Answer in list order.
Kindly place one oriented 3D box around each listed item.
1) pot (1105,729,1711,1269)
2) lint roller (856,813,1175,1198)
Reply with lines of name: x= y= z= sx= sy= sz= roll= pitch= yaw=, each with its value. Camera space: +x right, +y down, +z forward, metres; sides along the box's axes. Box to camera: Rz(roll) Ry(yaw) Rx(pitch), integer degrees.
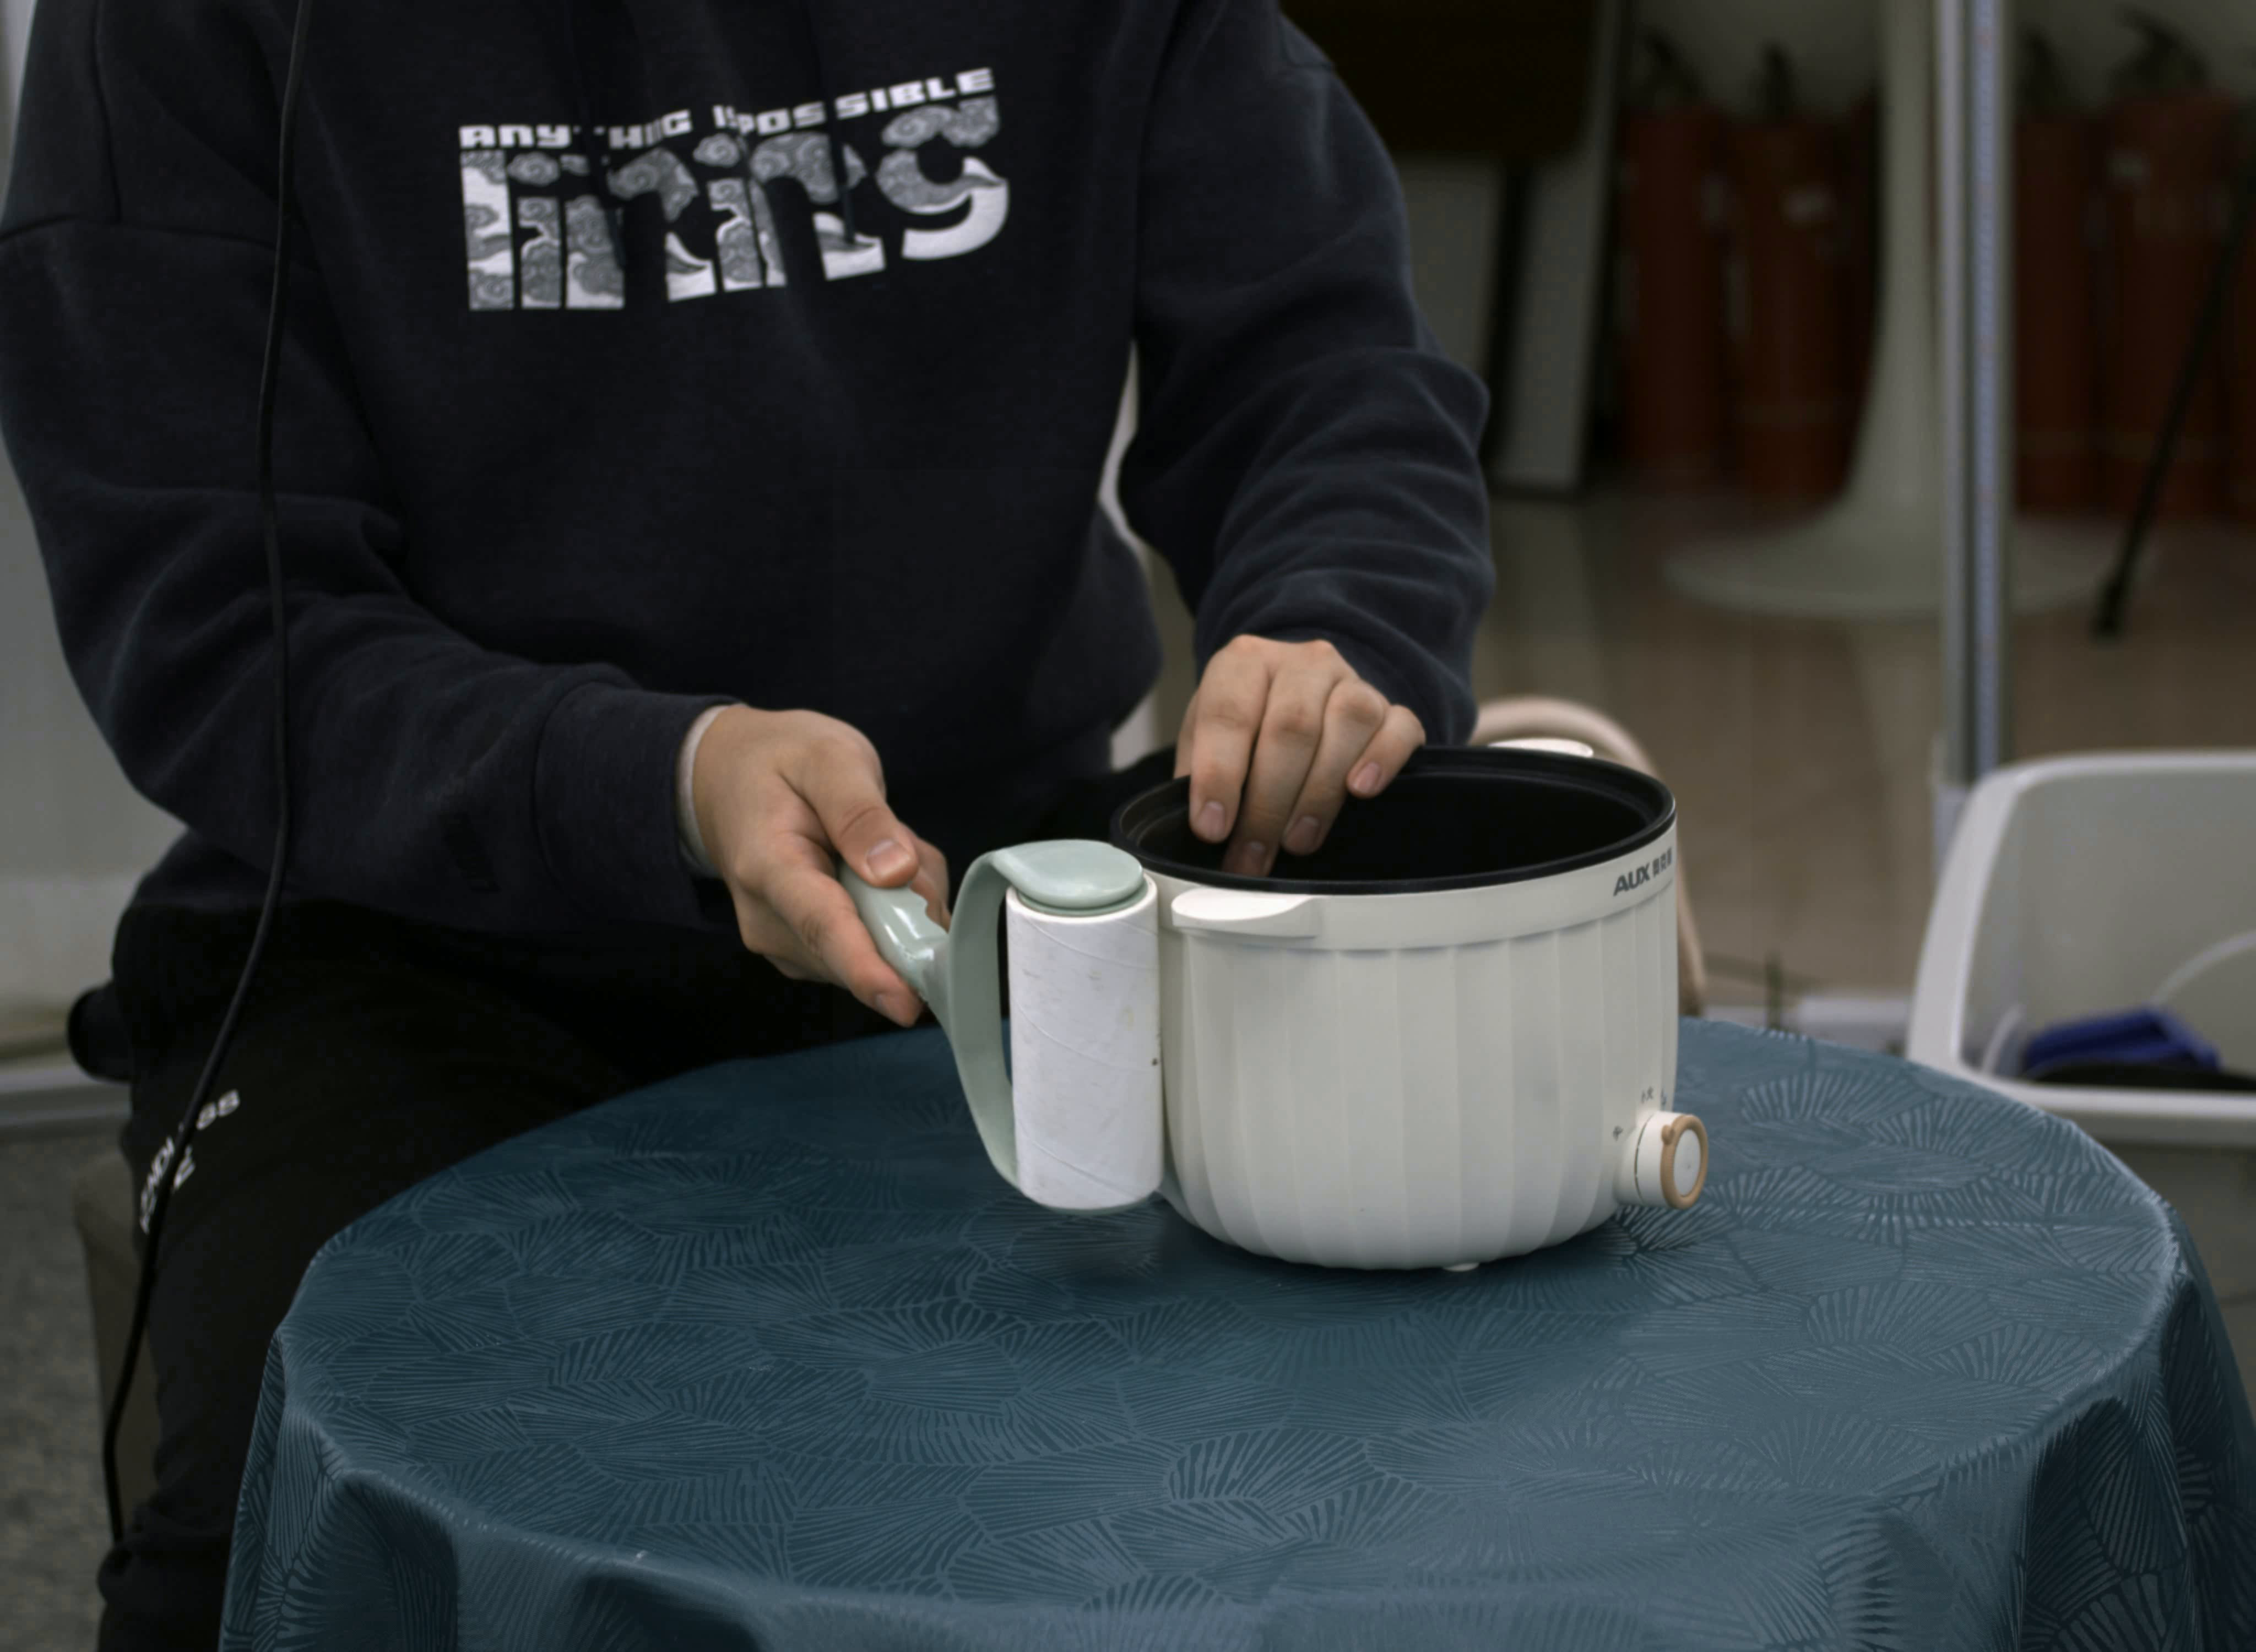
pot: x=0.092 y=0.058 z=1.715 sx=0.191 sy=0.144 sz=0.237 roll=1 pitch=15 yaw=32
lint roller: x=-0.049 y=0.034 z=1.724 sx=0.047 sy=0.117 sz=0.200 roll=-17 pitch=26 yaw=-26
